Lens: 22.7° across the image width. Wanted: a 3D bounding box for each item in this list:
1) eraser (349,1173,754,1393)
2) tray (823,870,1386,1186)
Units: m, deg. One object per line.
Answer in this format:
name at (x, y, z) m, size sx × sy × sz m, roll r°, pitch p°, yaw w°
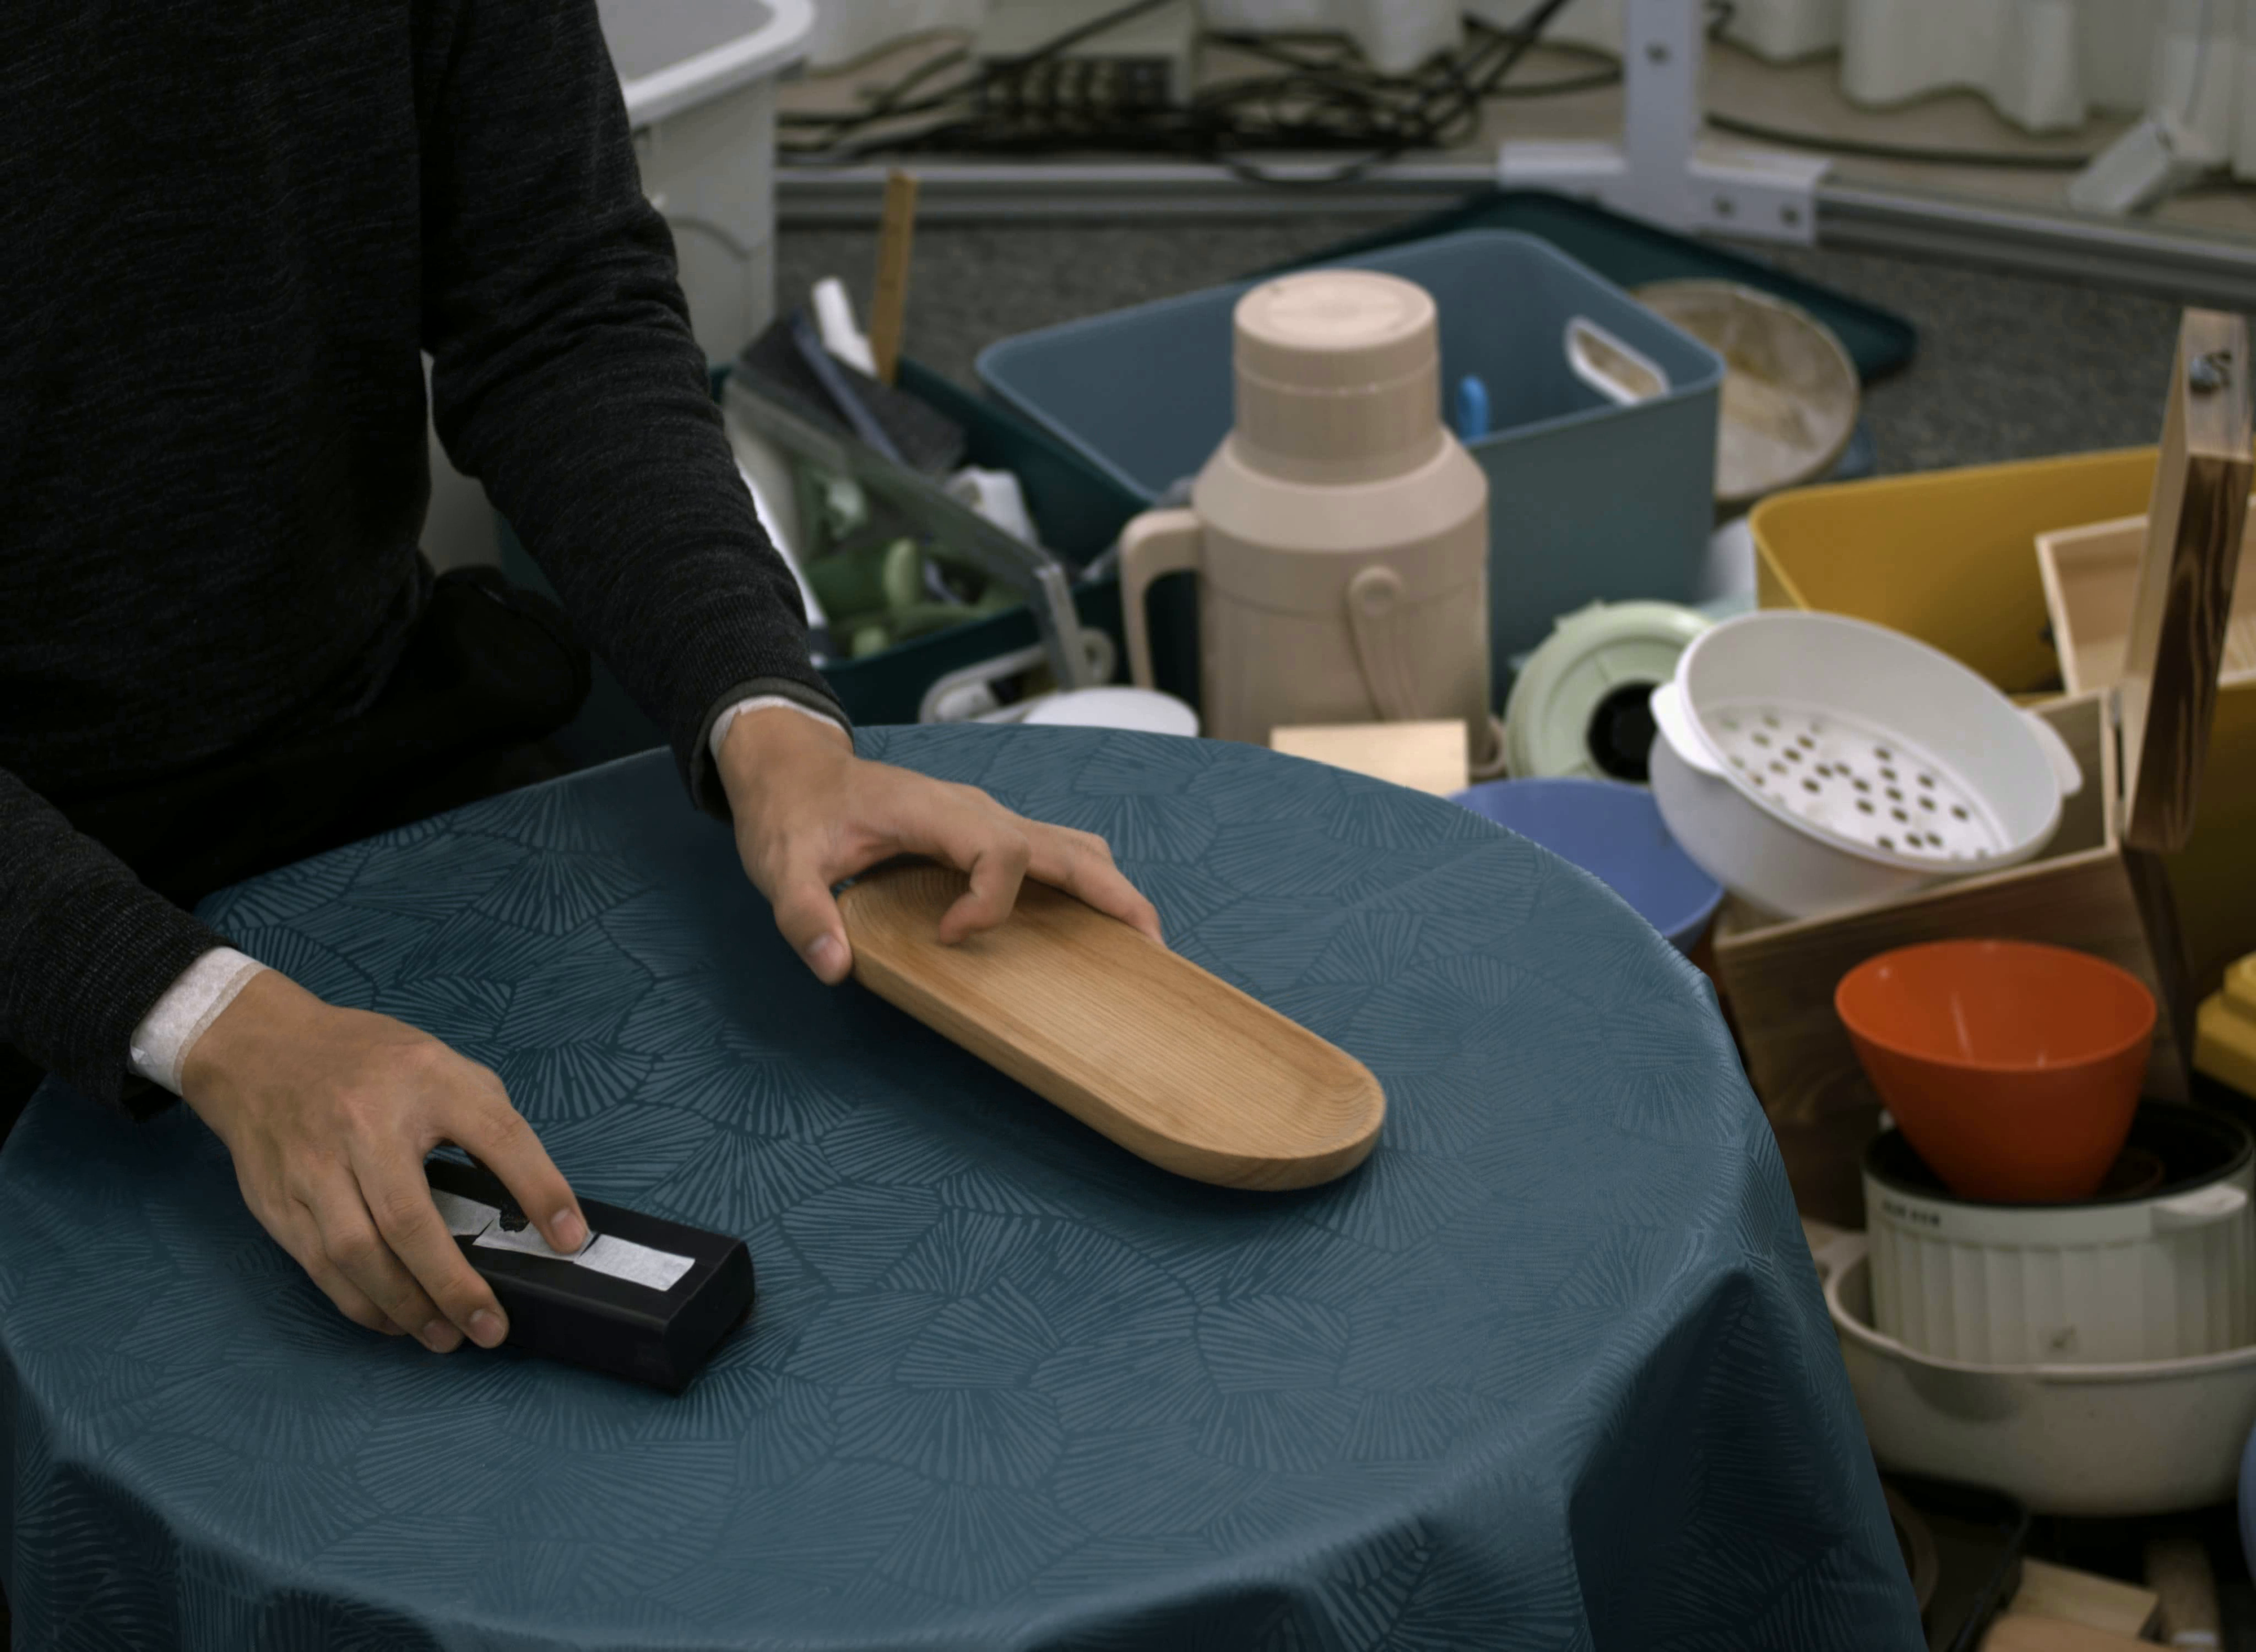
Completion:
eraser at (-0.184, 0.146, 1.798) m, size 0.125 × 0.030 × 0.054 m, roll 11°, pitch 32°, yaw 26°
tray at (-0.010, 0.067, 1.920) m, size 0.231 × 0.020 × 0.102 m, roll 26°, pitch 29°, yaw 38°
